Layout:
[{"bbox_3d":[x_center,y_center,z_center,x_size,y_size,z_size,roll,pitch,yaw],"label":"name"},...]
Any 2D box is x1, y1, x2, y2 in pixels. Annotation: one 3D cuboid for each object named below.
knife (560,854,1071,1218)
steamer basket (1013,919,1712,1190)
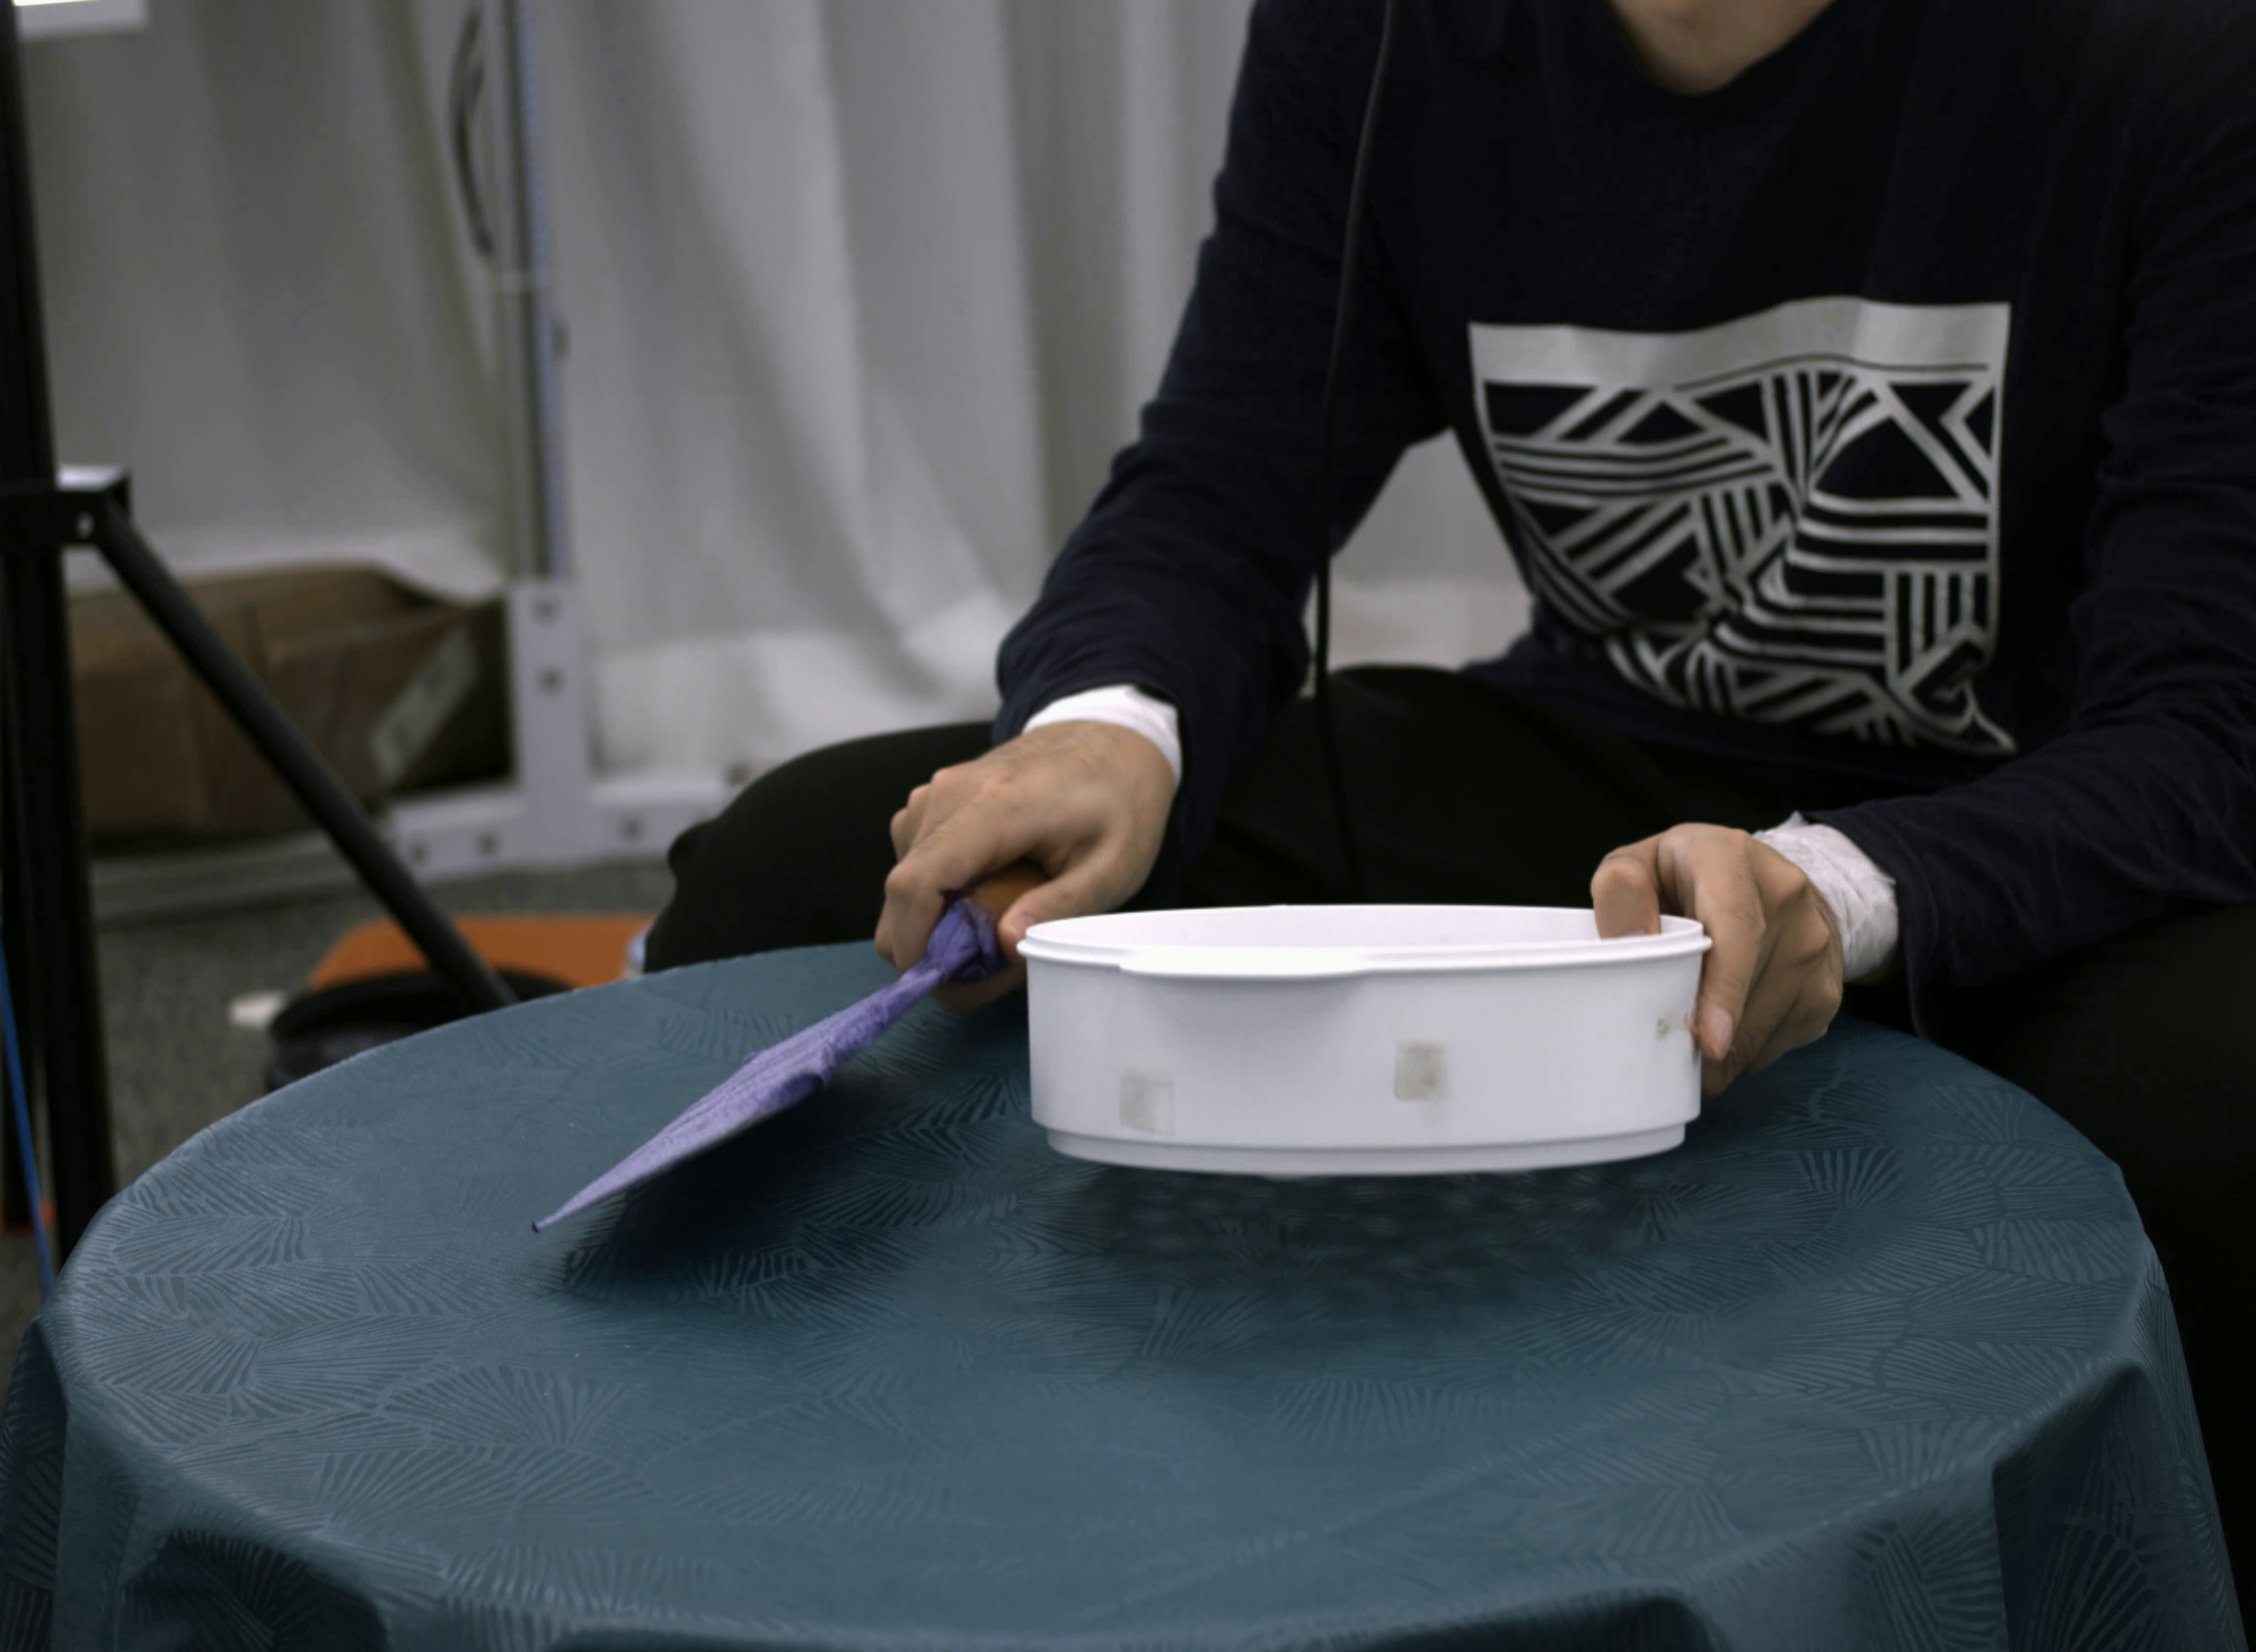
[{"bbox_3d":[-0.095,0.061,1.636,0.104,0.032,0.312,-25,3,17],"label":"knife"},{"bbox_3d":[0.066,0.065,1.528,0.205,0.069,0.226,2,1,24],"label":"steamer basket"}]
